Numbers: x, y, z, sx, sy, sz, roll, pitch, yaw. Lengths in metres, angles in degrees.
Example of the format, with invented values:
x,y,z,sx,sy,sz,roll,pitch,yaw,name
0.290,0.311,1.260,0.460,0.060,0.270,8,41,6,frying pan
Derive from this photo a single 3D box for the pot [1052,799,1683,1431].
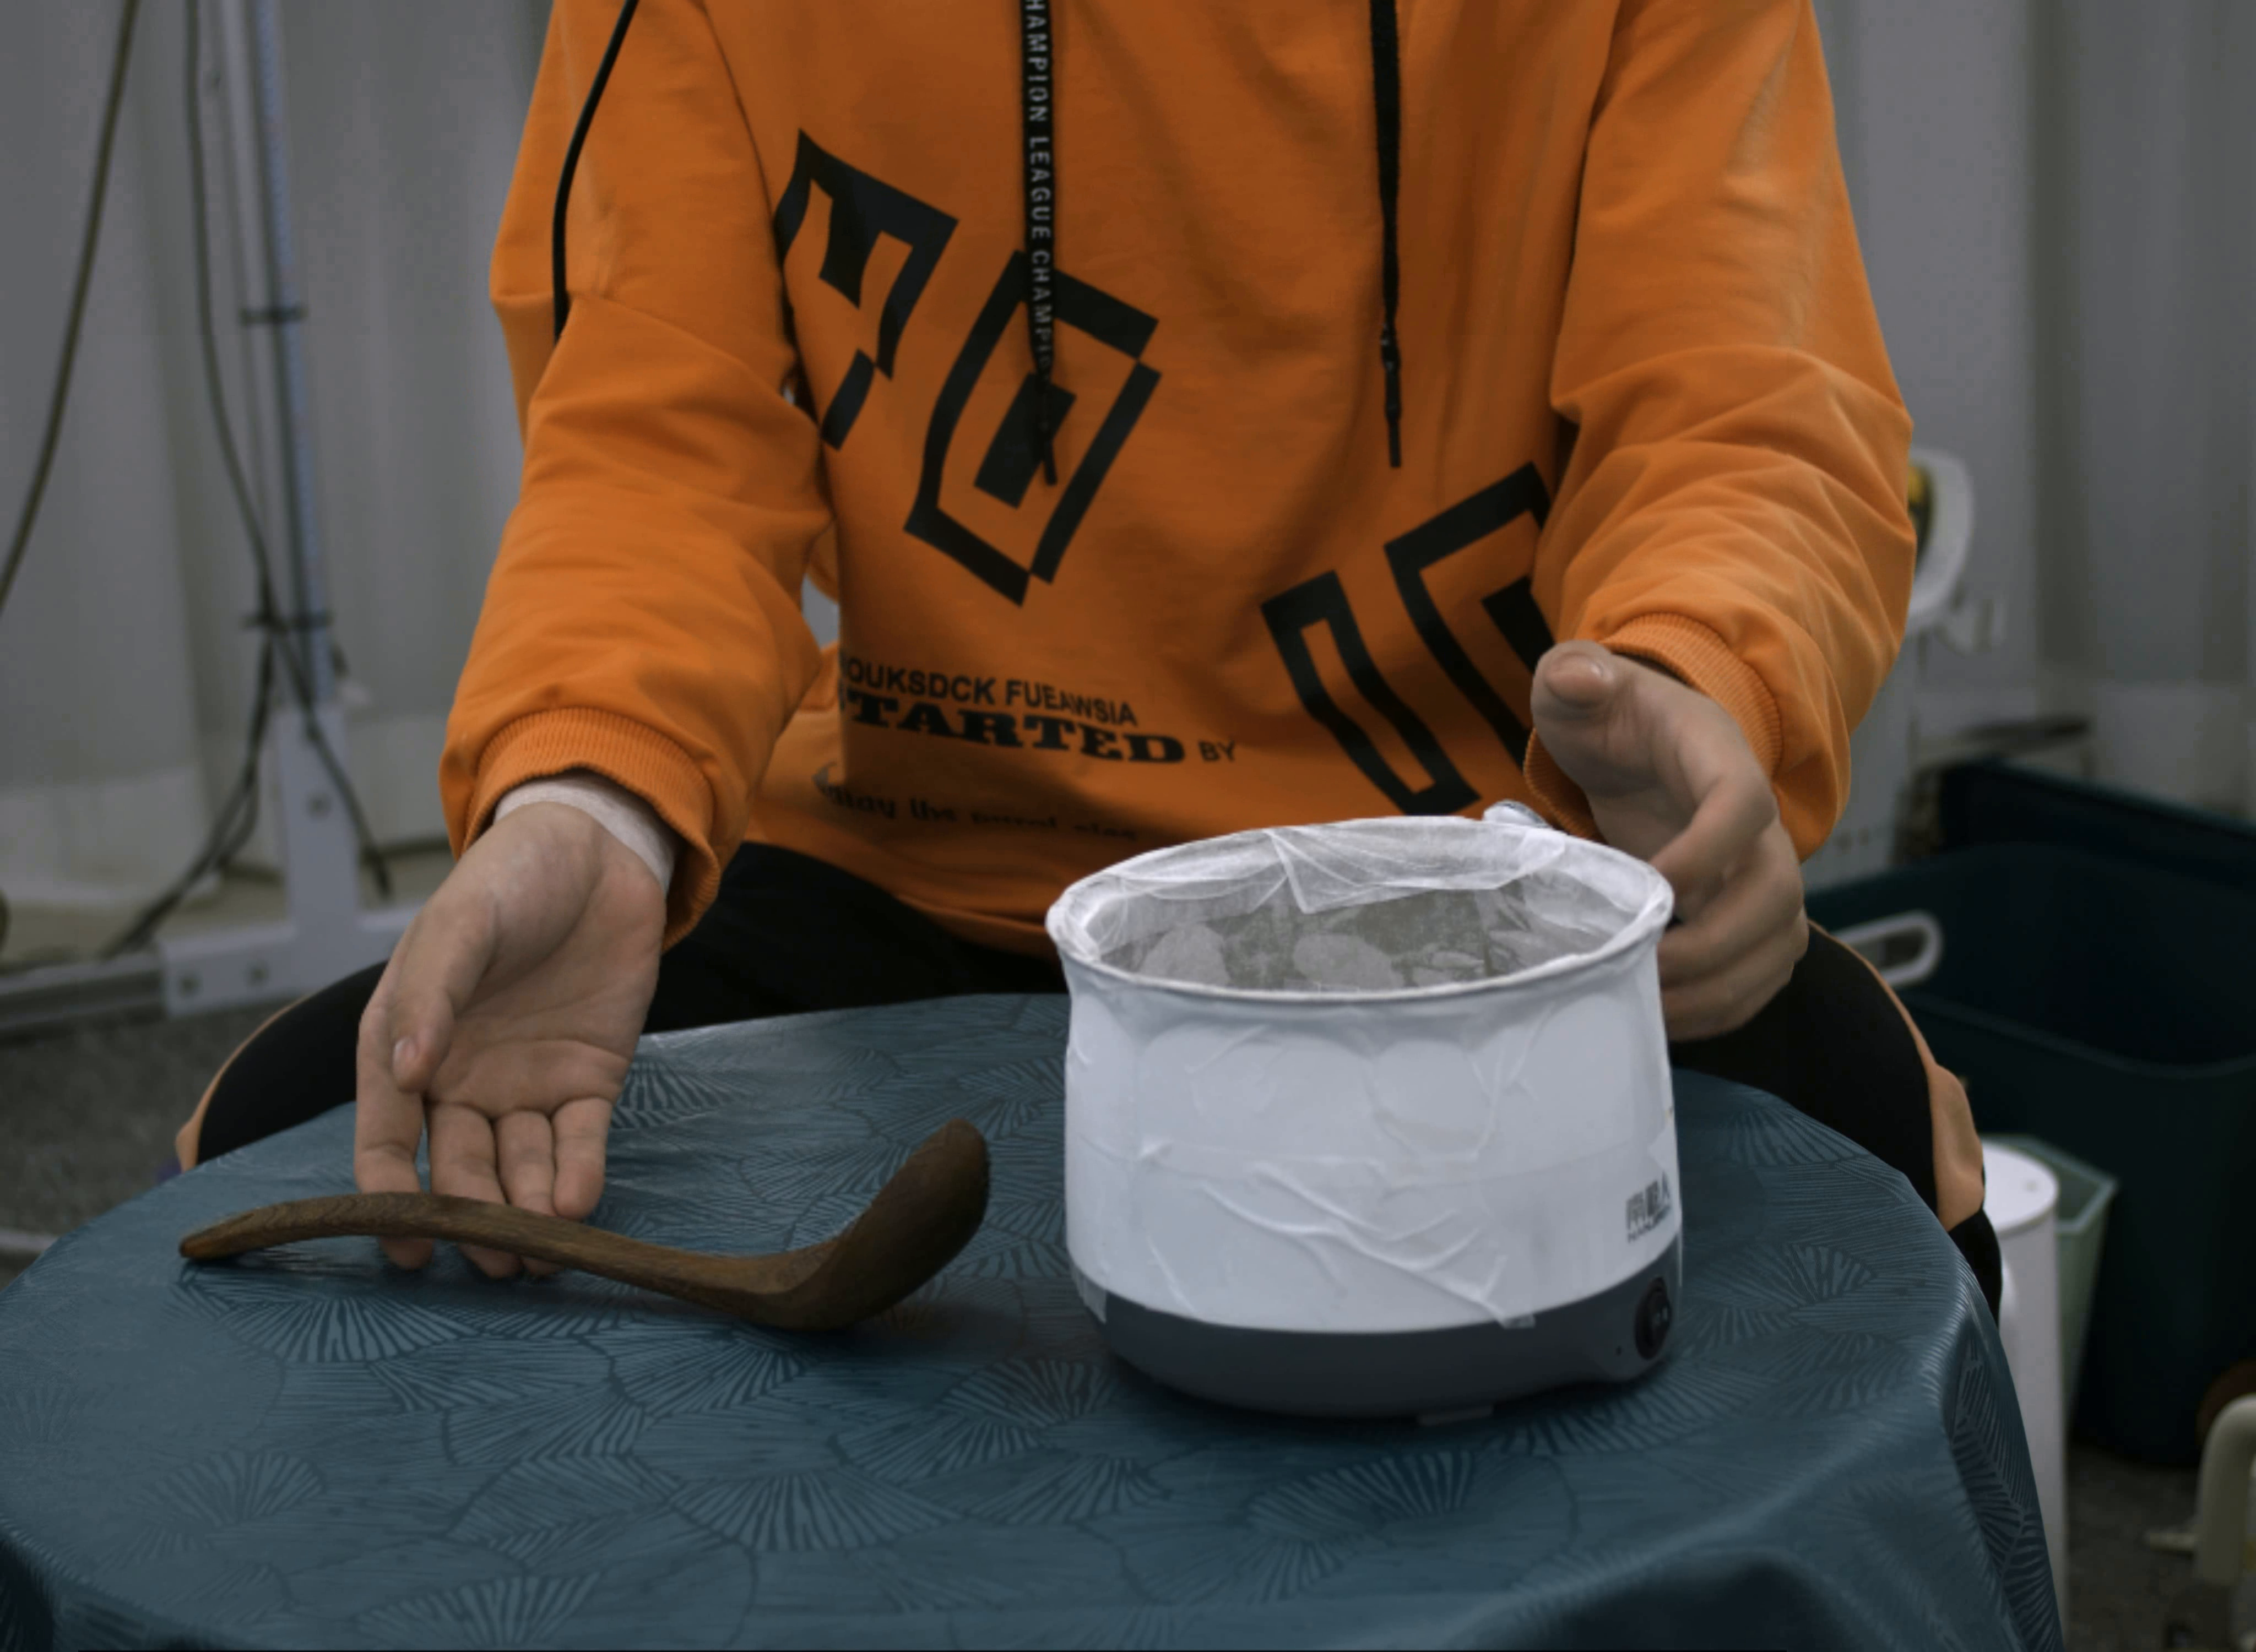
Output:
x,y,z,sx,sy,sz,roll,pitch,yaw,name
0.082,0.076,1.581,0.179,0.136,0.234,5,17,27,pot

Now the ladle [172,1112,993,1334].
x,y,z,sx,sy,sz,roll,pitch,yaw,name
-0.168,0.108,1.638,0.274,0.071,0.076,5,13,24,ladle
